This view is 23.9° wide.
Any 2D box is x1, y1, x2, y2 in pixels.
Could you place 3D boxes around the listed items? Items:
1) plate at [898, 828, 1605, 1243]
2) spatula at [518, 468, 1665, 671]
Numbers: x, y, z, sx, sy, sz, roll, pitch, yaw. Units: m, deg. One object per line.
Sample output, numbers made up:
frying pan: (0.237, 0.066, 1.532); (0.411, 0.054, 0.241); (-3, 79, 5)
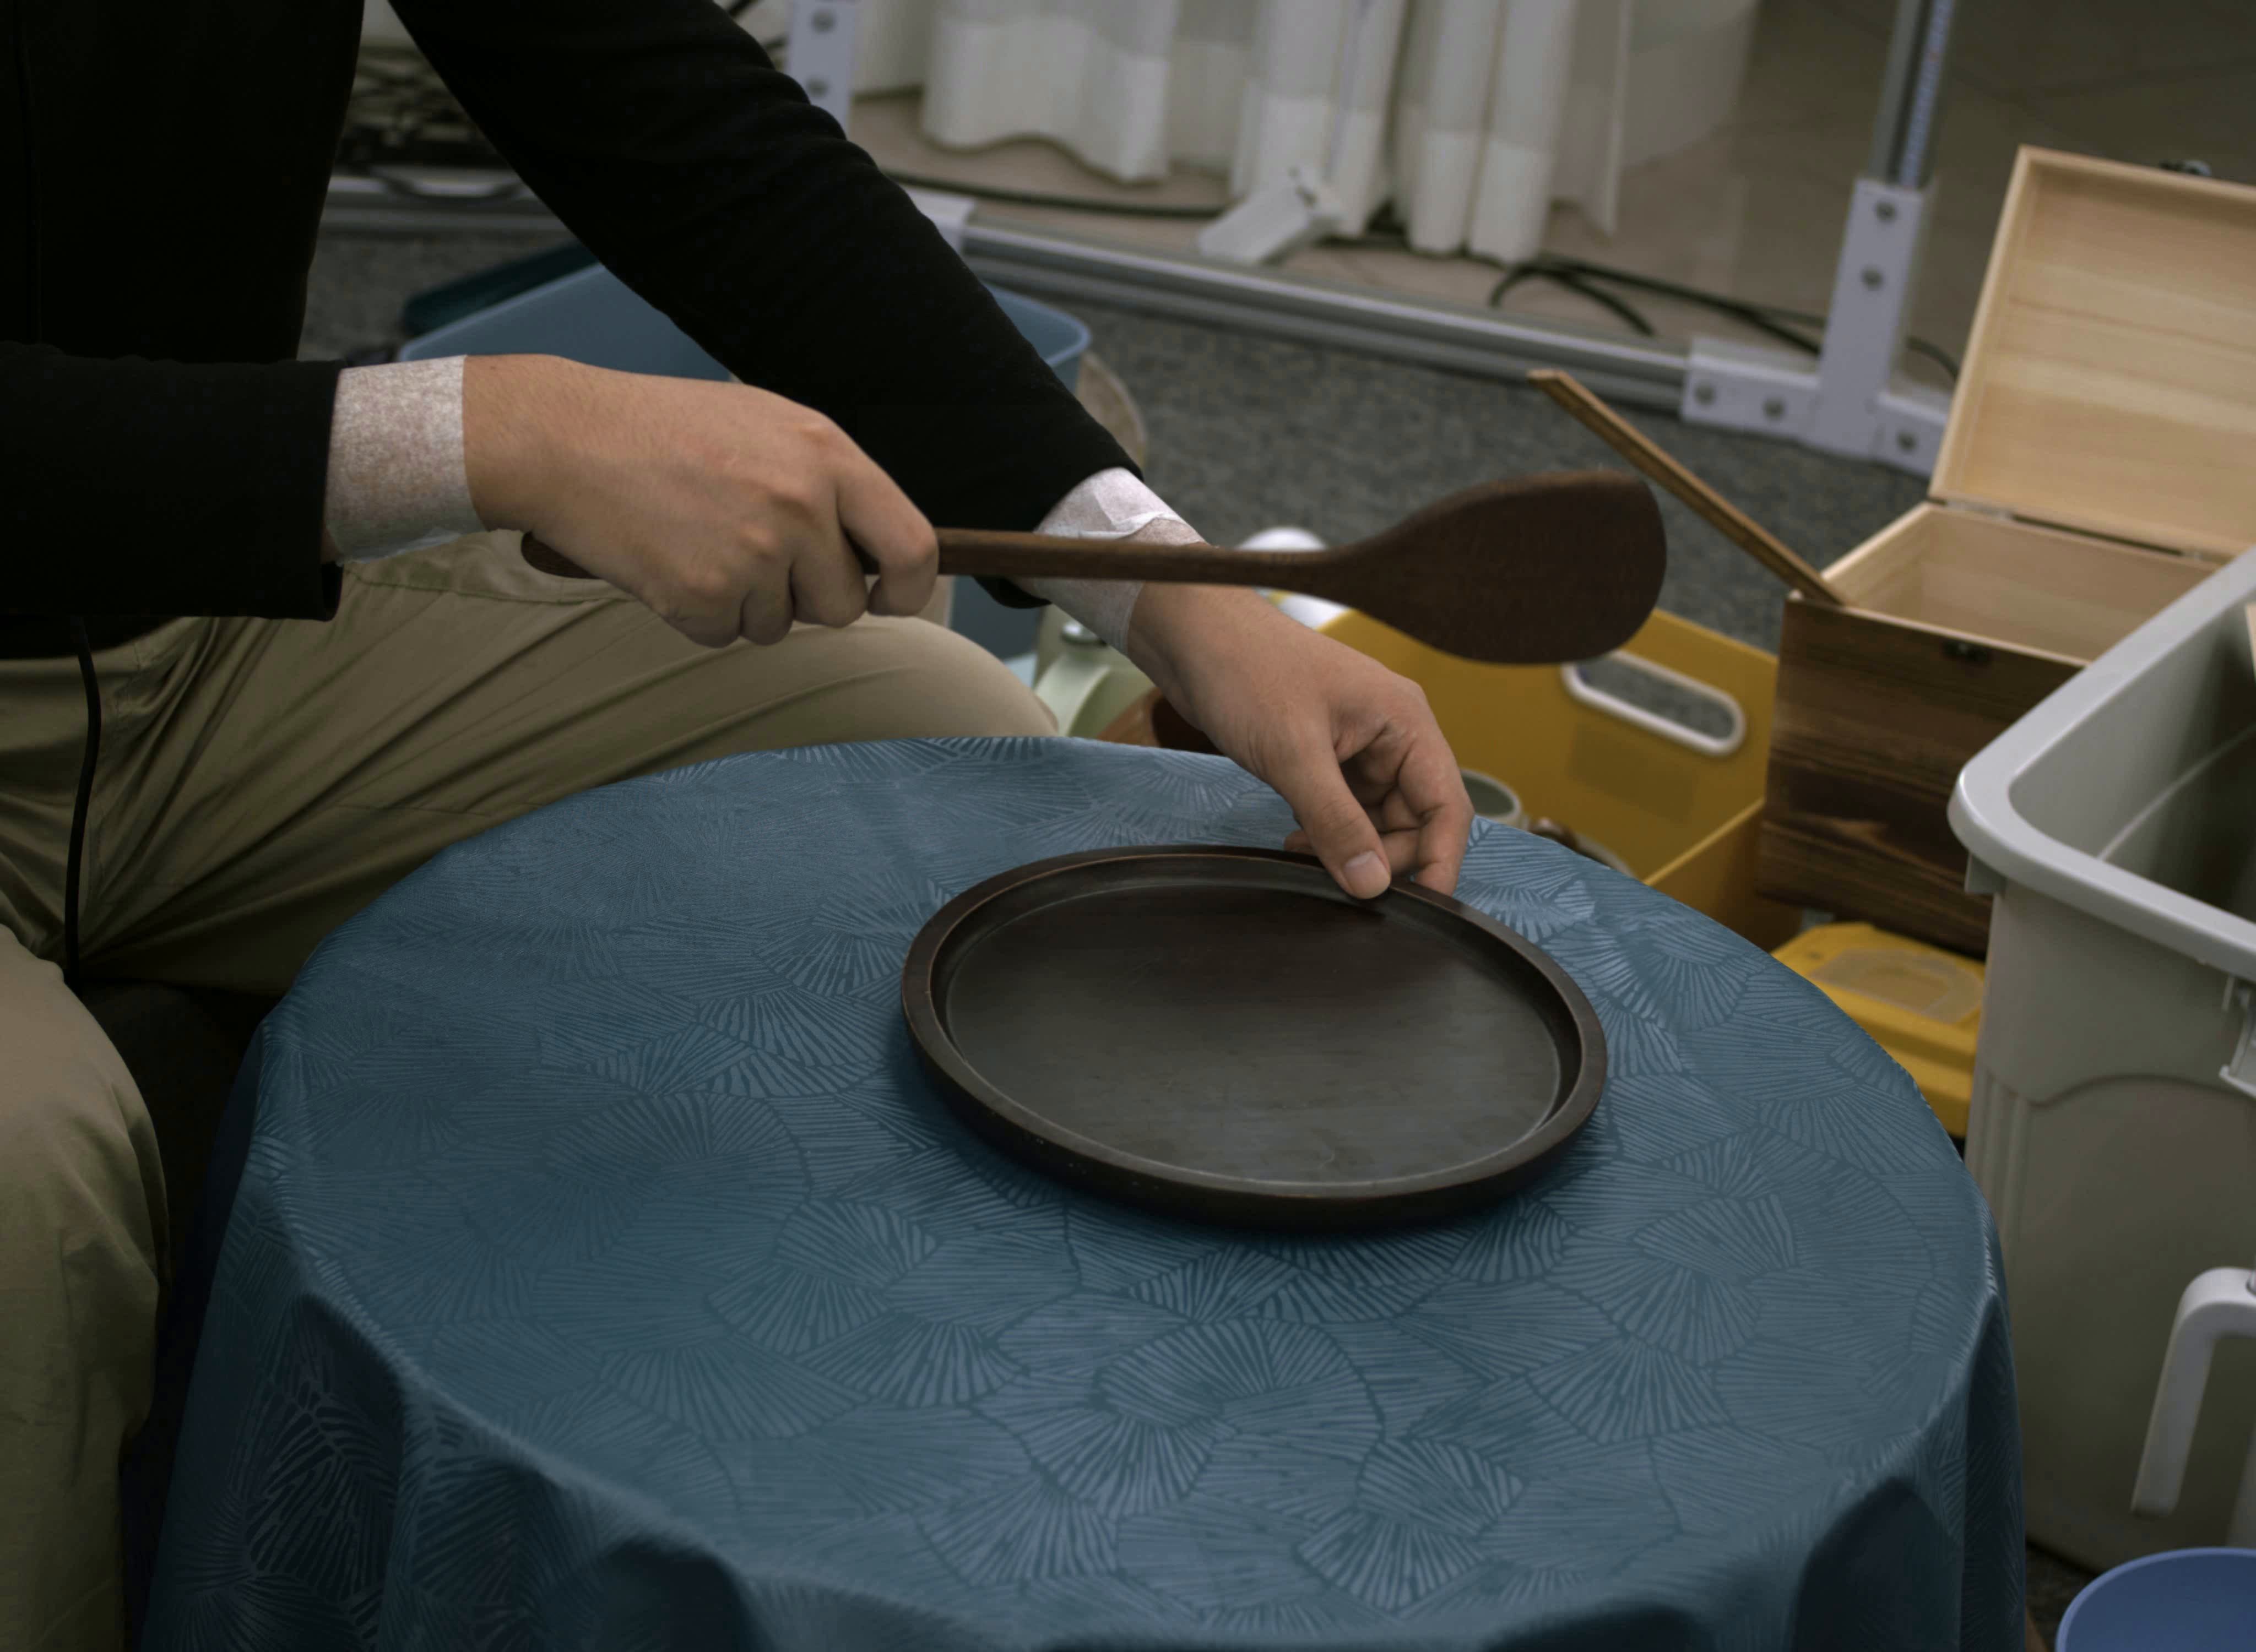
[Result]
plate: (0.043, 0.075, 1.884); (0.254, 0.029, 0.256); (5, 28, -3)
spatula: (-0.013, -0.090, 1.788); (0.385, 0.095, 0.016); (3, 50, 2)
